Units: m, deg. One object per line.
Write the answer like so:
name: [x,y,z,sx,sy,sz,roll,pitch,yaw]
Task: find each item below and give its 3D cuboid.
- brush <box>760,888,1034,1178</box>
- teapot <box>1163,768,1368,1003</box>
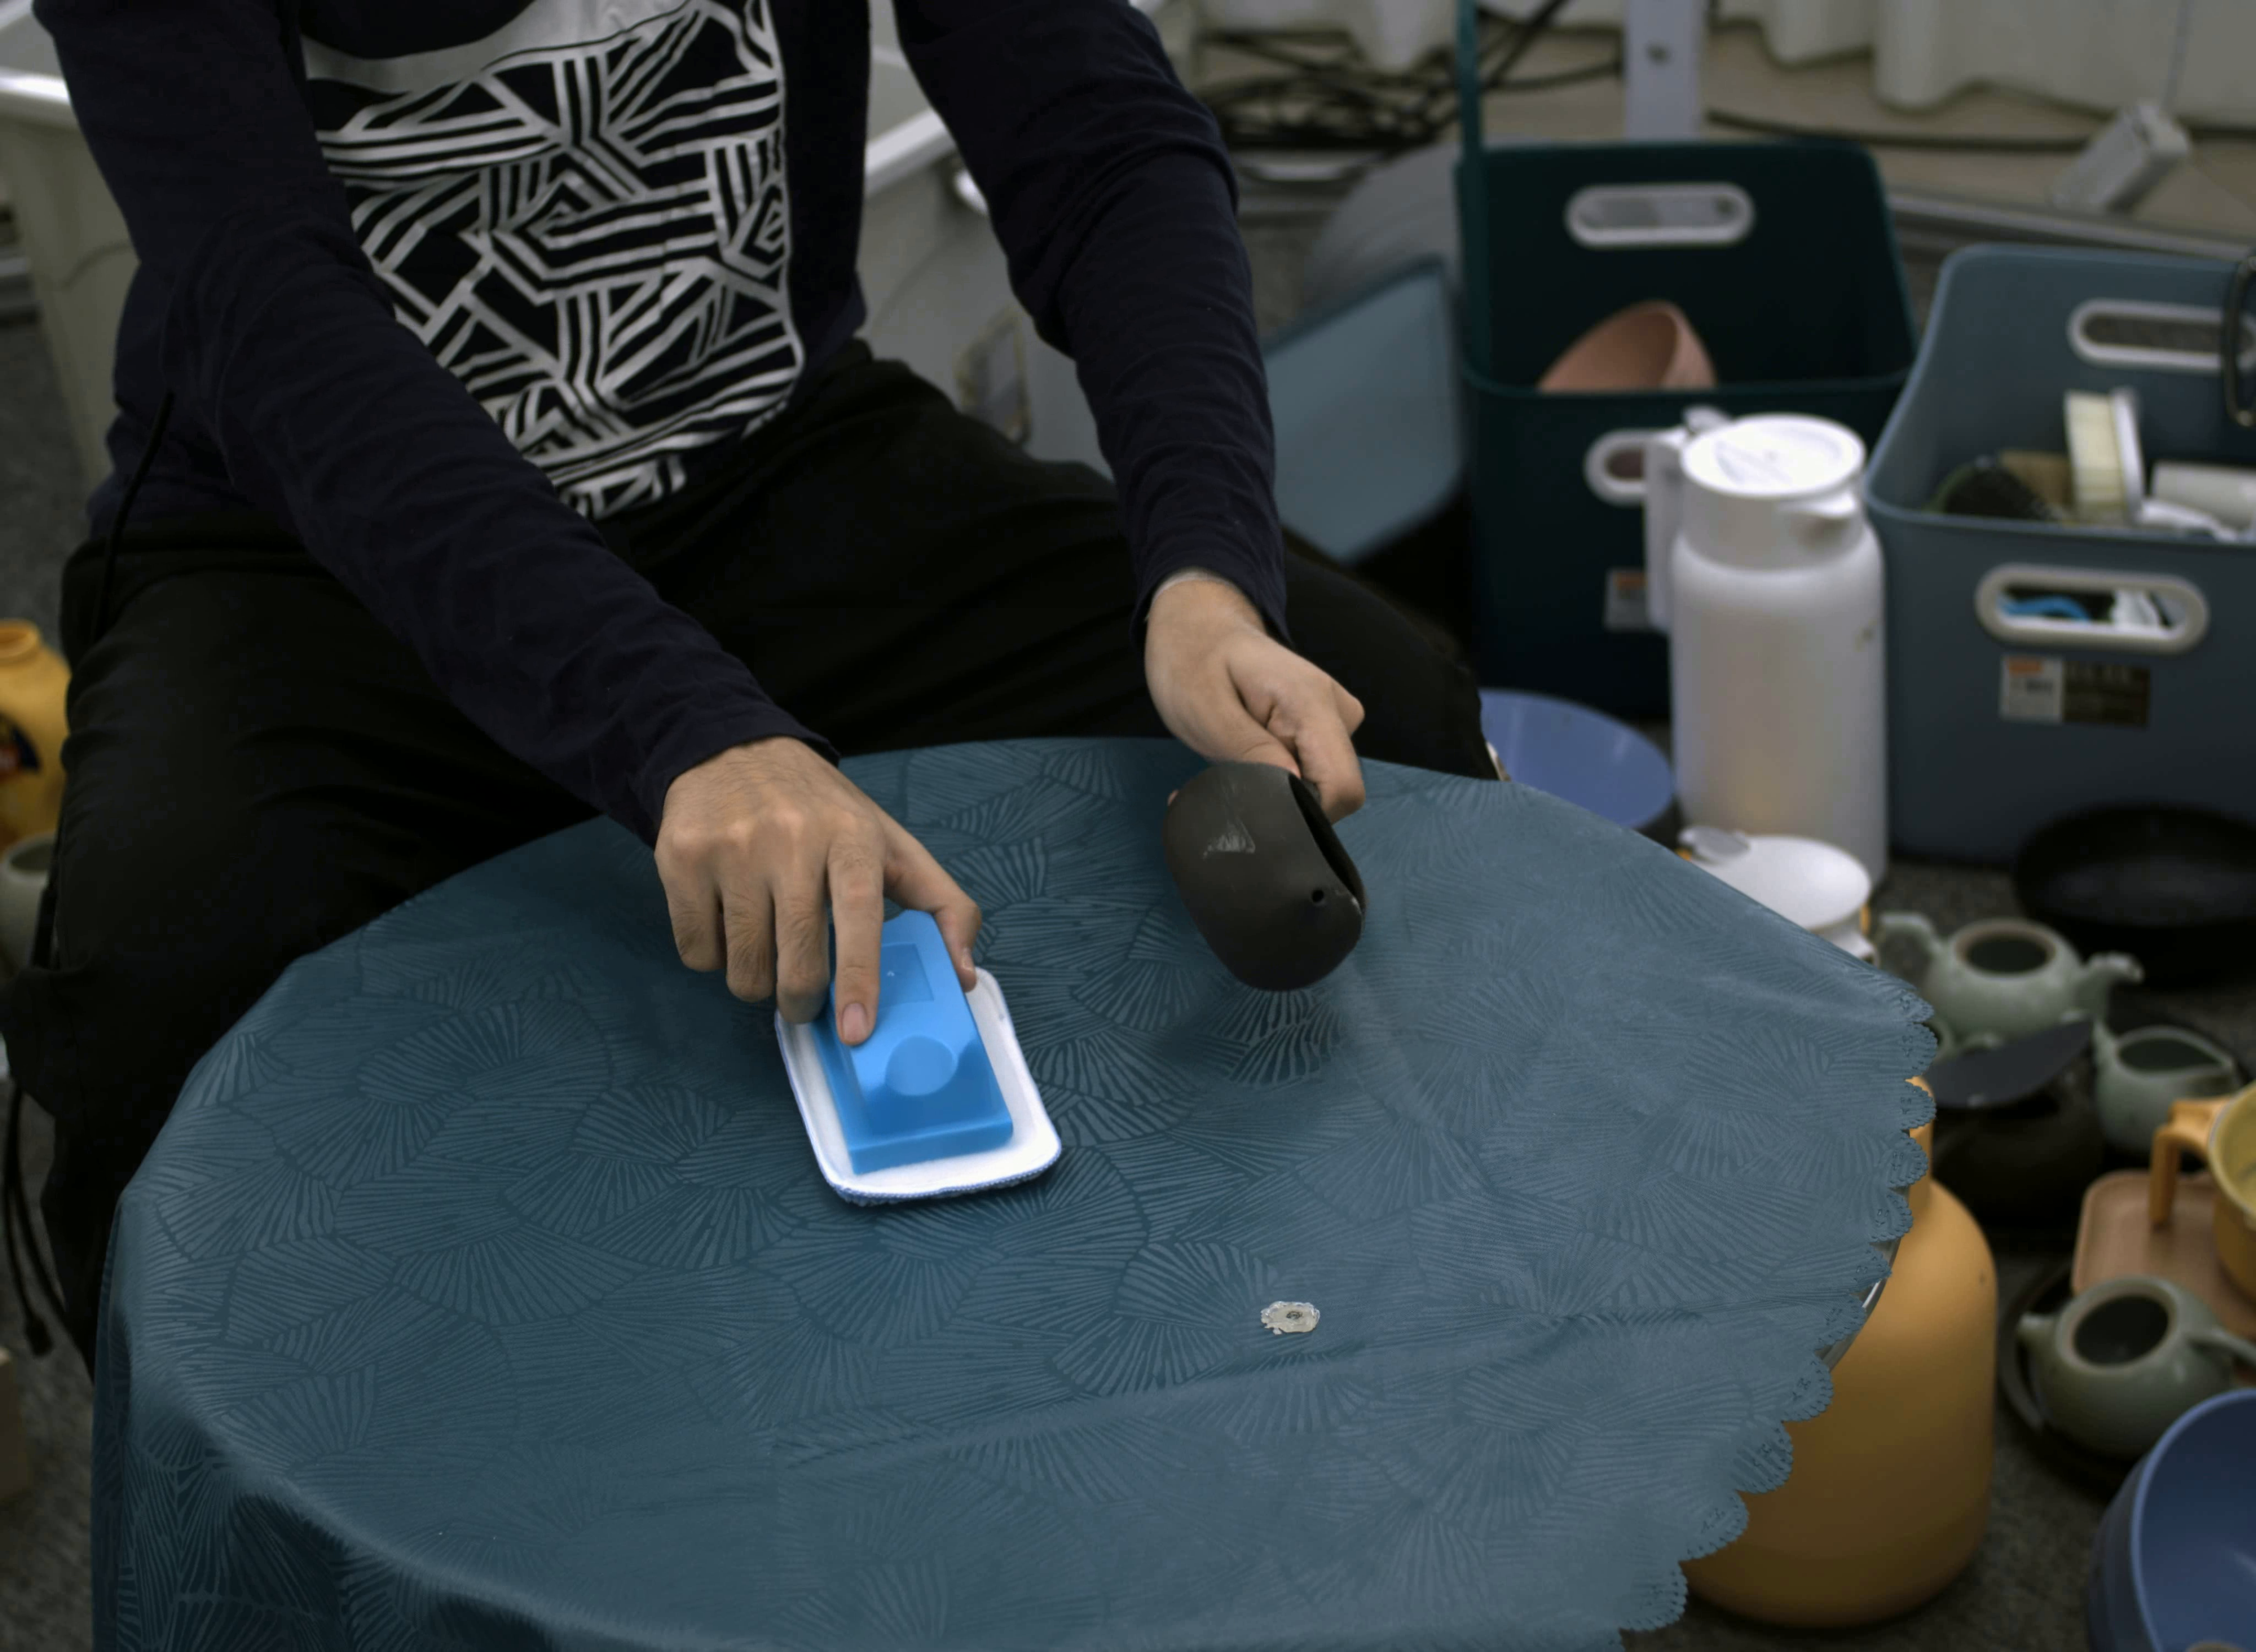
brush: [-0.078,0.066,1.909,0.084,0.055,0.146,-5,30,-9]
teapot: [0.048,0.015,1.934,0.052,0.082,0.115,-28,15,13]
